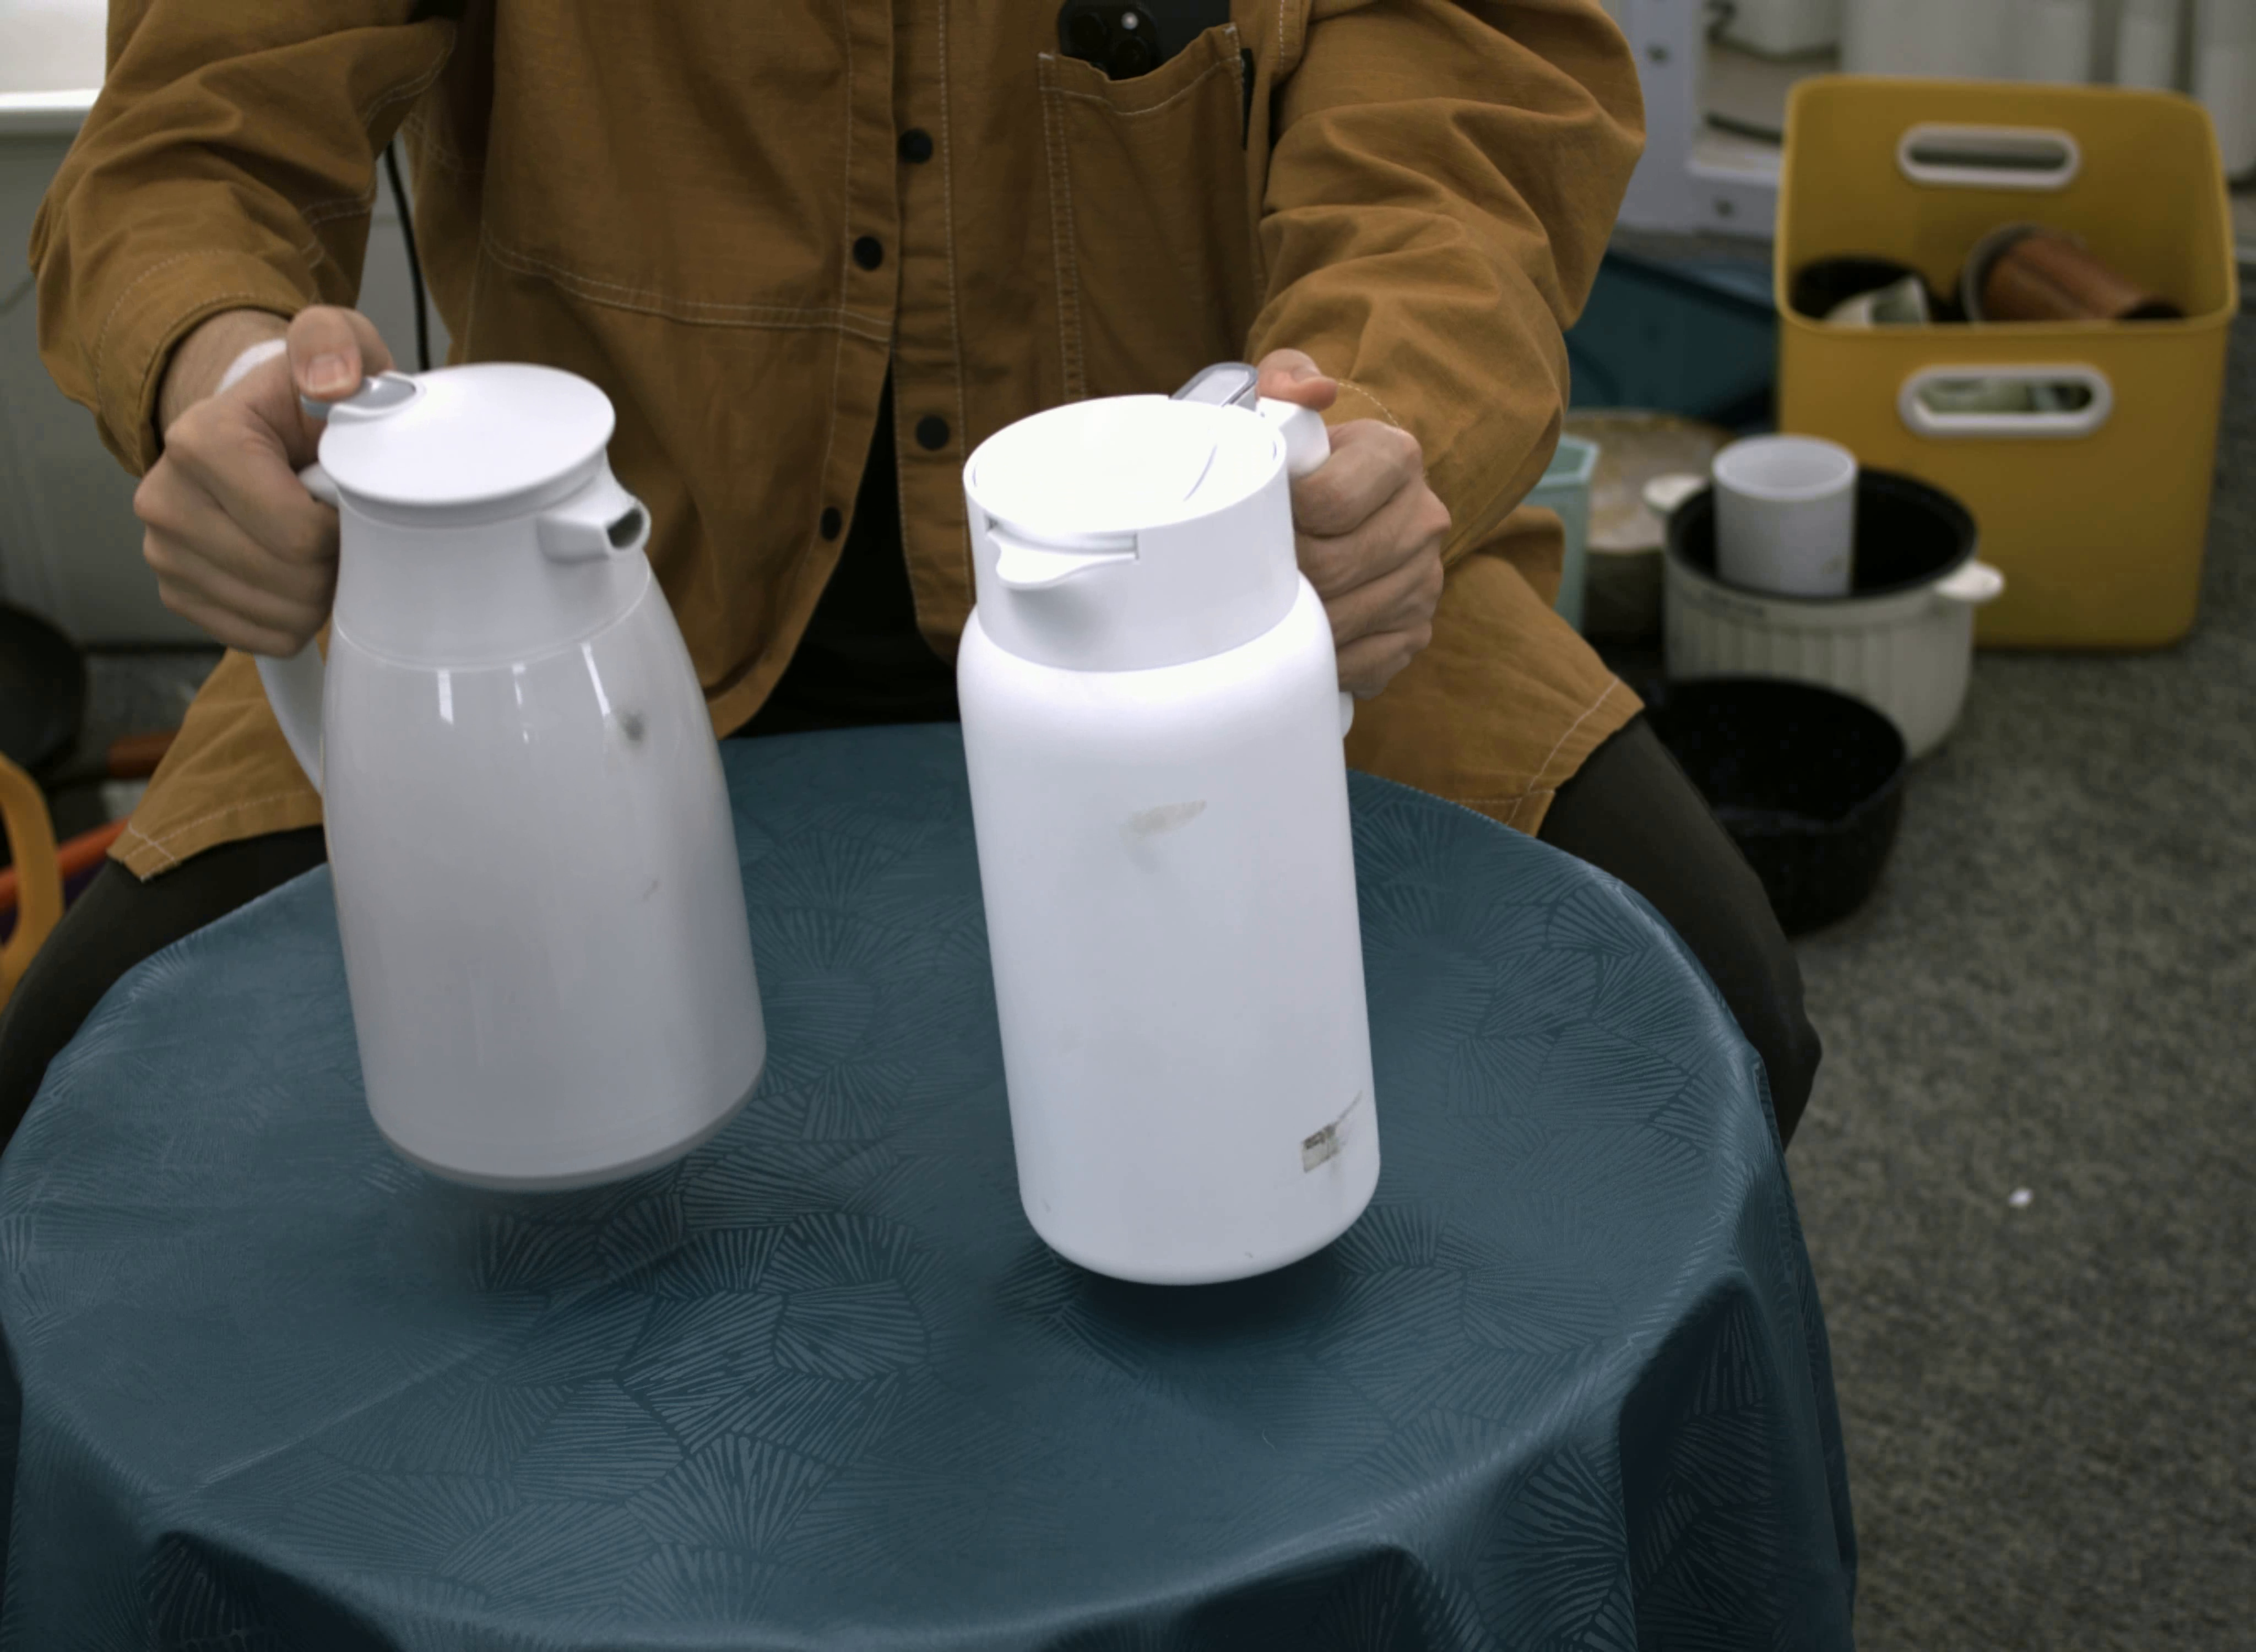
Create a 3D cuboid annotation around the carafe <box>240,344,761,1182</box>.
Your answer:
[{"bbox_3d":[-0.210,-0.030,1.788,0.167,0.246,0.134,14,34,32],"label":"carafe"}]

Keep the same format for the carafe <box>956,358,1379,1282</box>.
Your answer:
[{"bbox_3d":[0.018,-0.006,1.768,0.123,0.266,0.175,6,28,28],"label":"carafe"}]
